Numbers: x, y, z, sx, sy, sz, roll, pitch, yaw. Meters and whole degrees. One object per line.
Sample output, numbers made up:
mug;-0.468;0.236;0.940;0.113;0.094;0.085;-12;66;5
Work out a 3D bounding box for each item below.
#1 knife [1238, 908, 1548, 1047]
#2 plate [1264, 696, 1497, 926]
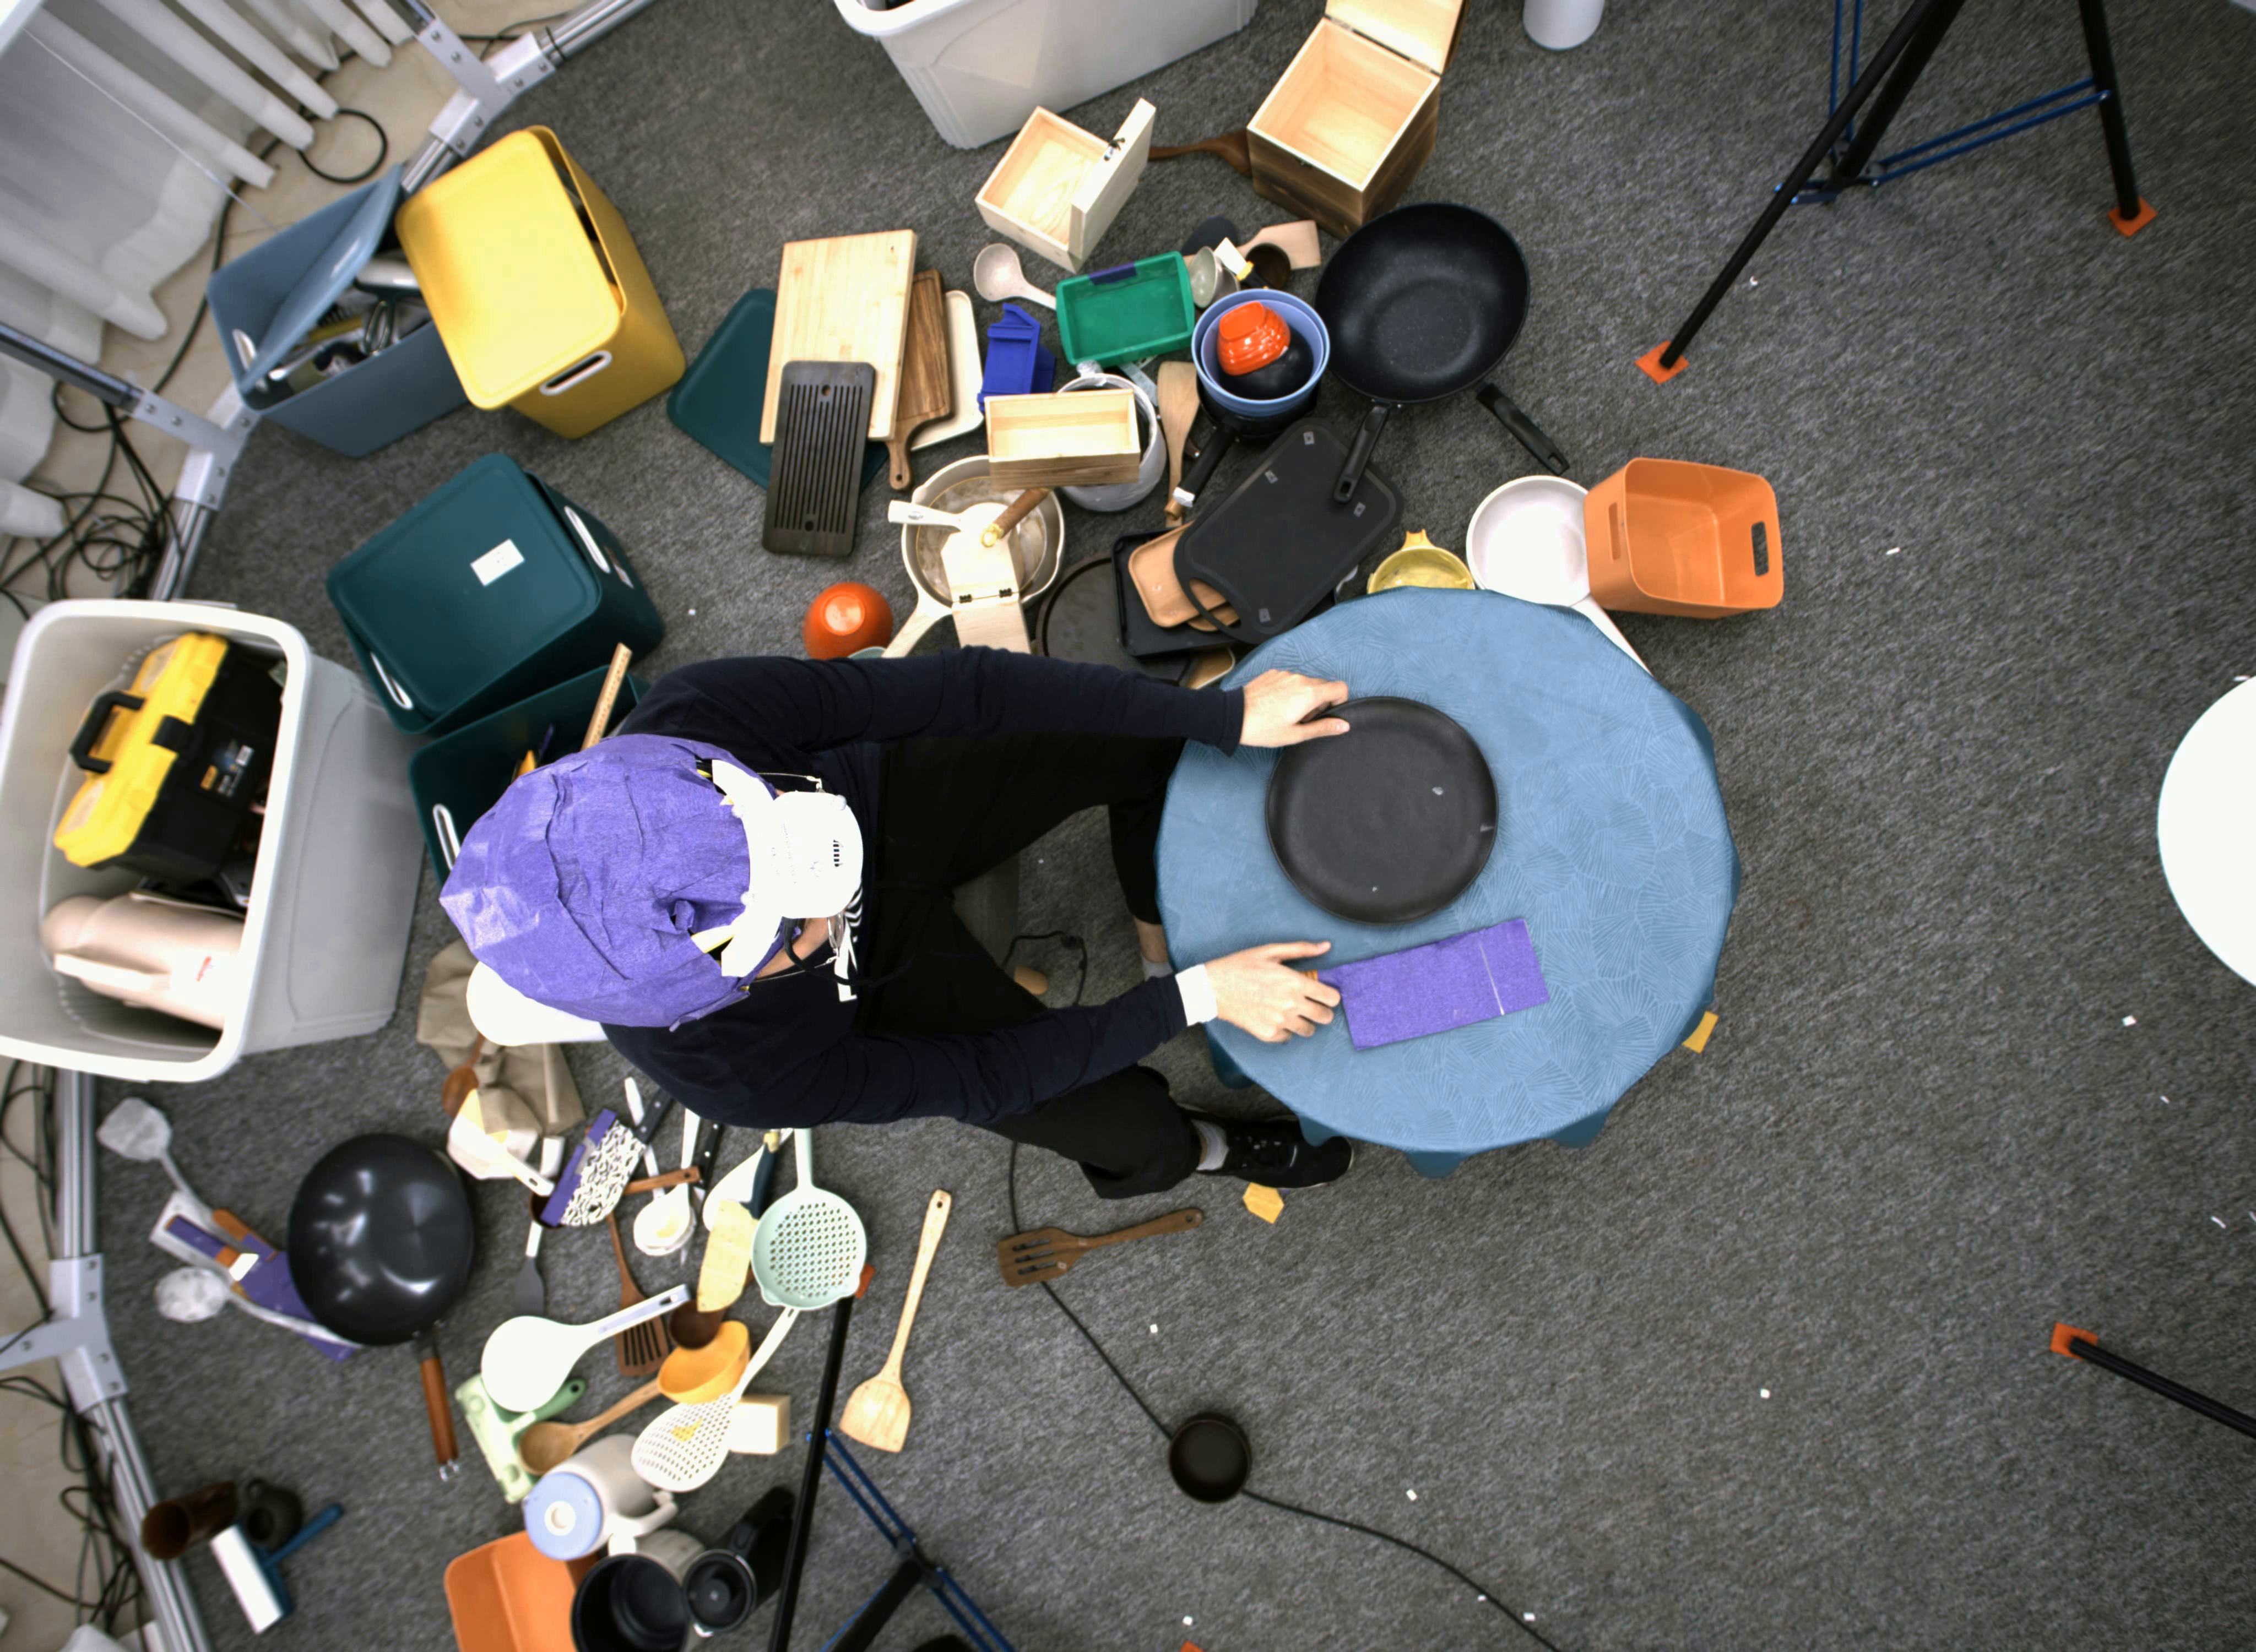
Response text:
knife;0.276;0.174;1.440;0.317;0.032;0.103;-16;83;9
plate;0.265;-0.017;1.454;0.245;0.023;0.243;-1;87;11
